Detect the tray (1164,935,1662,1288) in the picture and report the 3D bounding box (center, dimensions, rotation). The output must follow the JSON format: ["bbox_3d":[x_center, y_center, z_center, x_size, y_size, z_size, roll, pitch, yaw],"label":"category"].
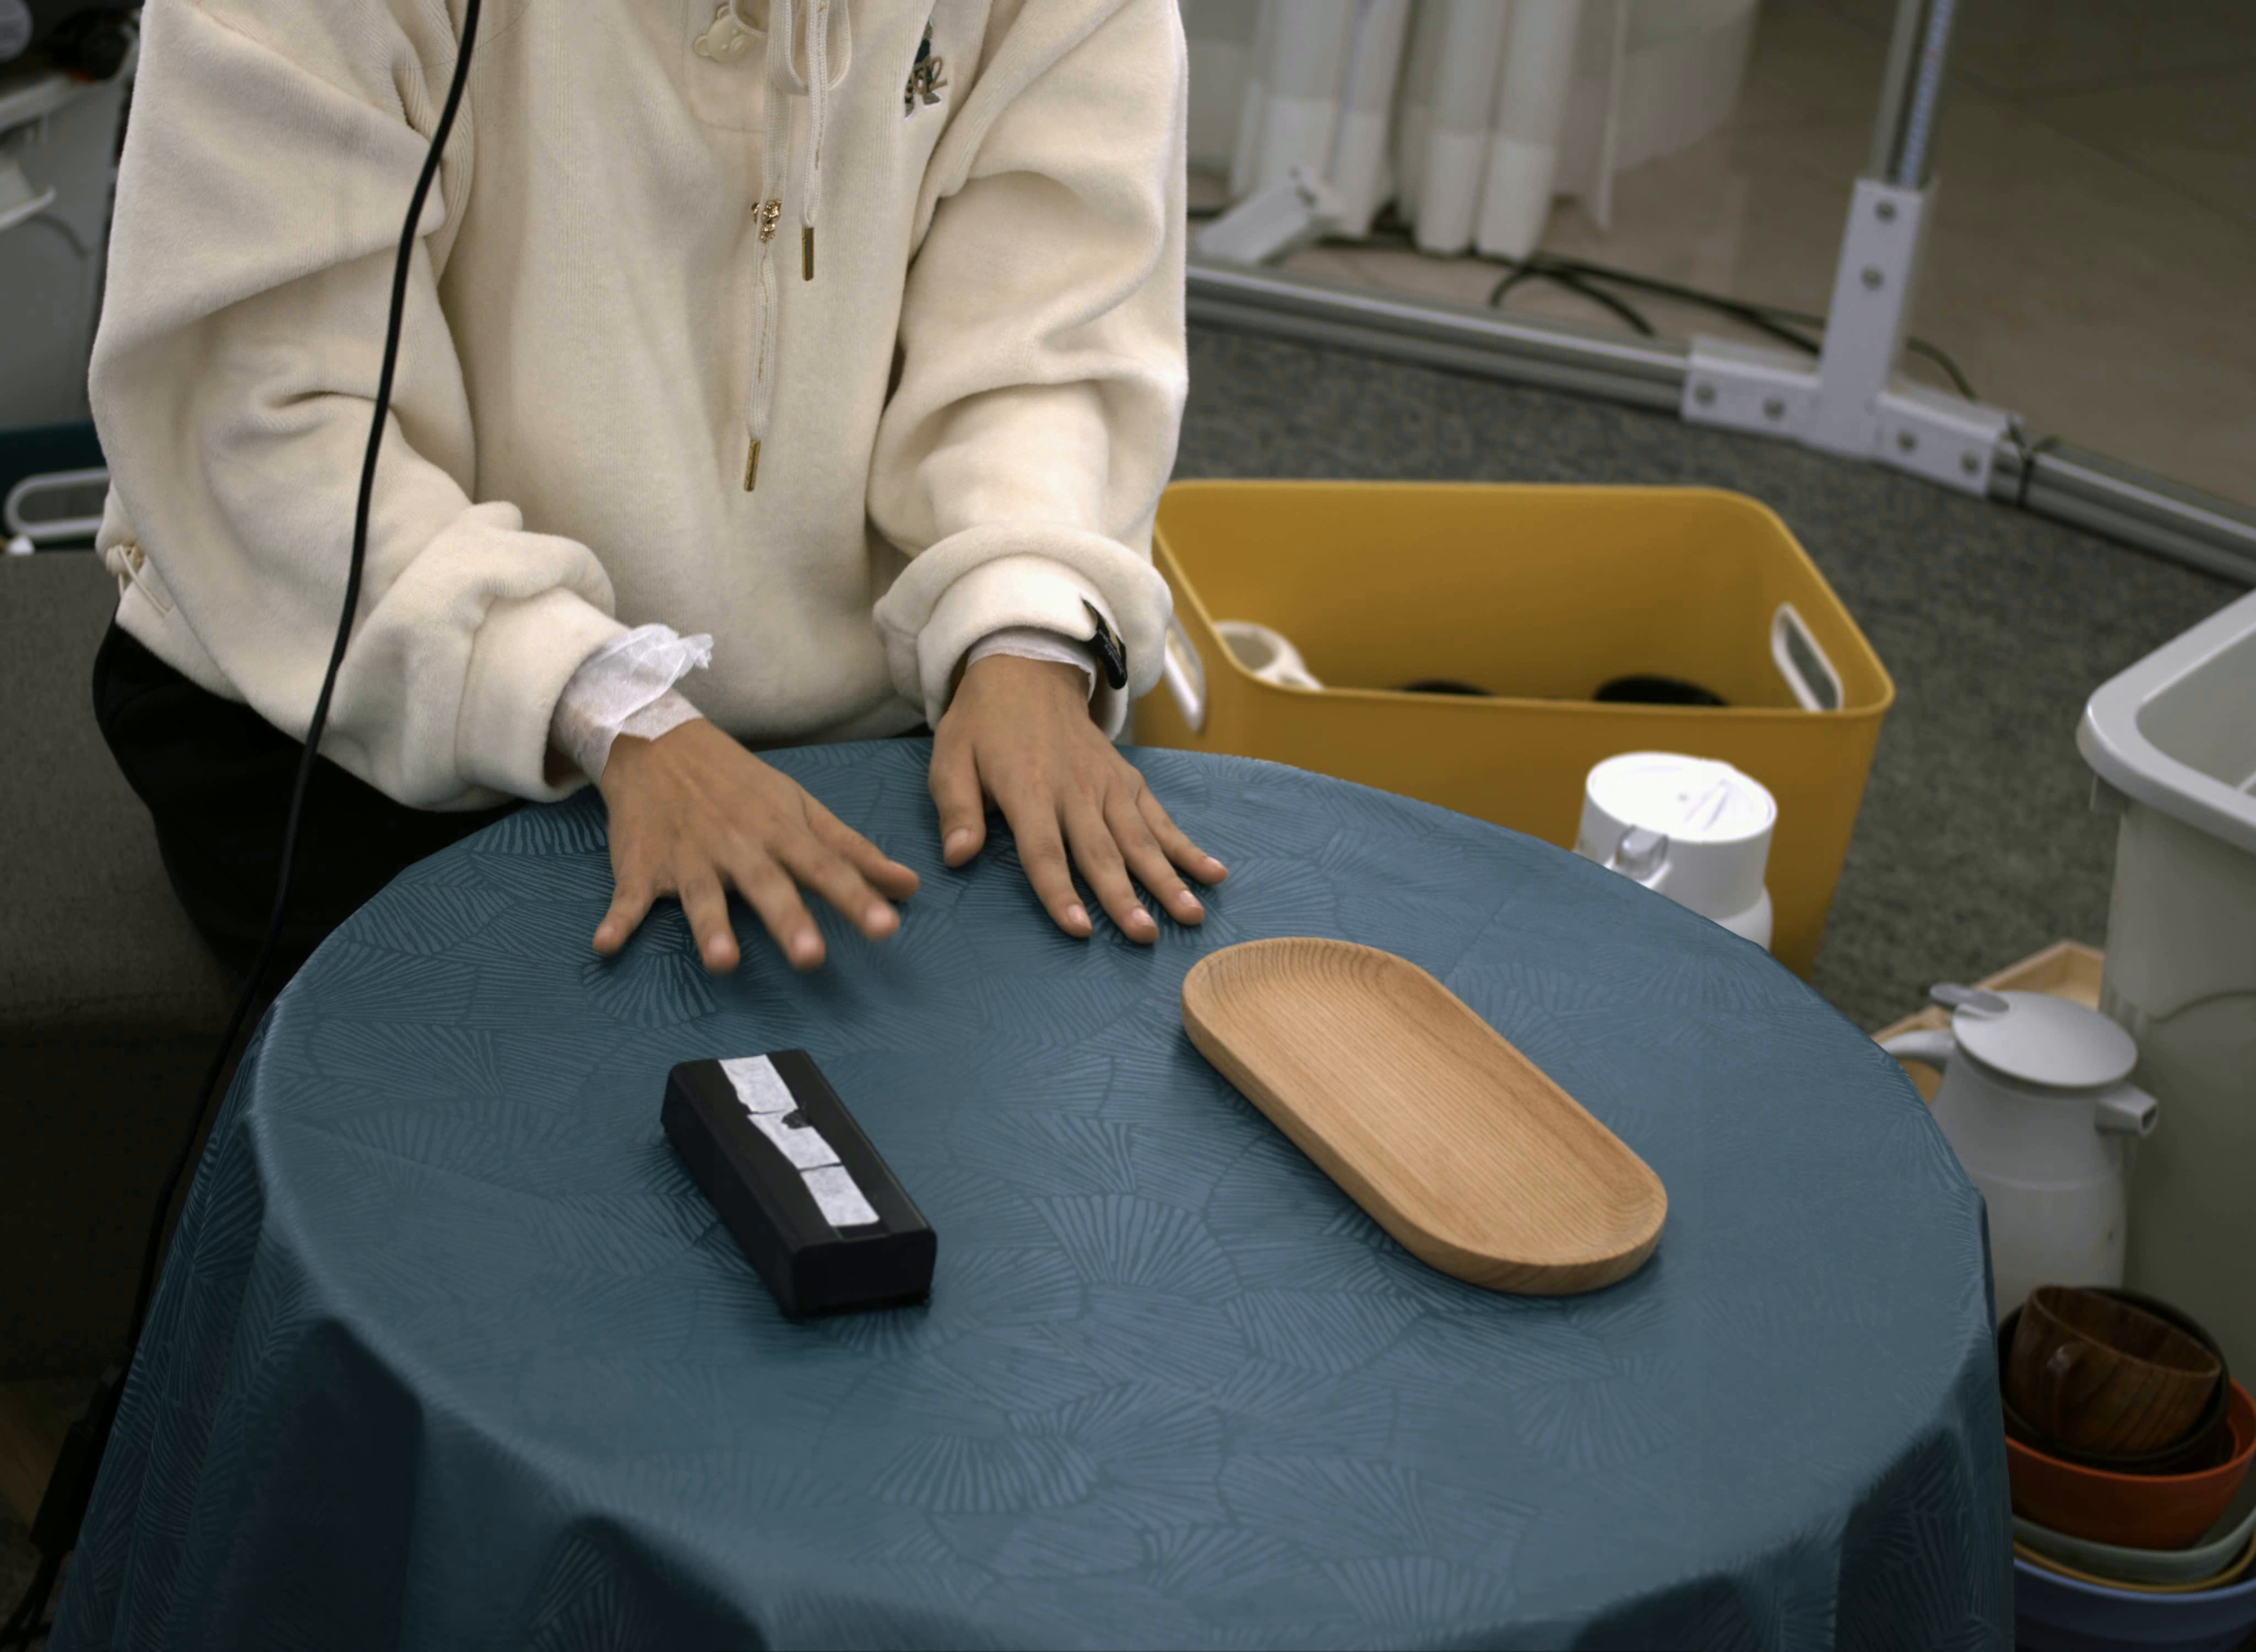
[{"bbox_3d":[0.097,0.097,1.857,0.101,0.020,0.233,-10,30,-30],"label":"tray"}]

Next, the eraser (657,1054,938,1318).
[{"bbox_3d":[-0.110,0.118,1.756,0.053,0.030,0.126,-1,28,-27],"label":"eraser"}]
